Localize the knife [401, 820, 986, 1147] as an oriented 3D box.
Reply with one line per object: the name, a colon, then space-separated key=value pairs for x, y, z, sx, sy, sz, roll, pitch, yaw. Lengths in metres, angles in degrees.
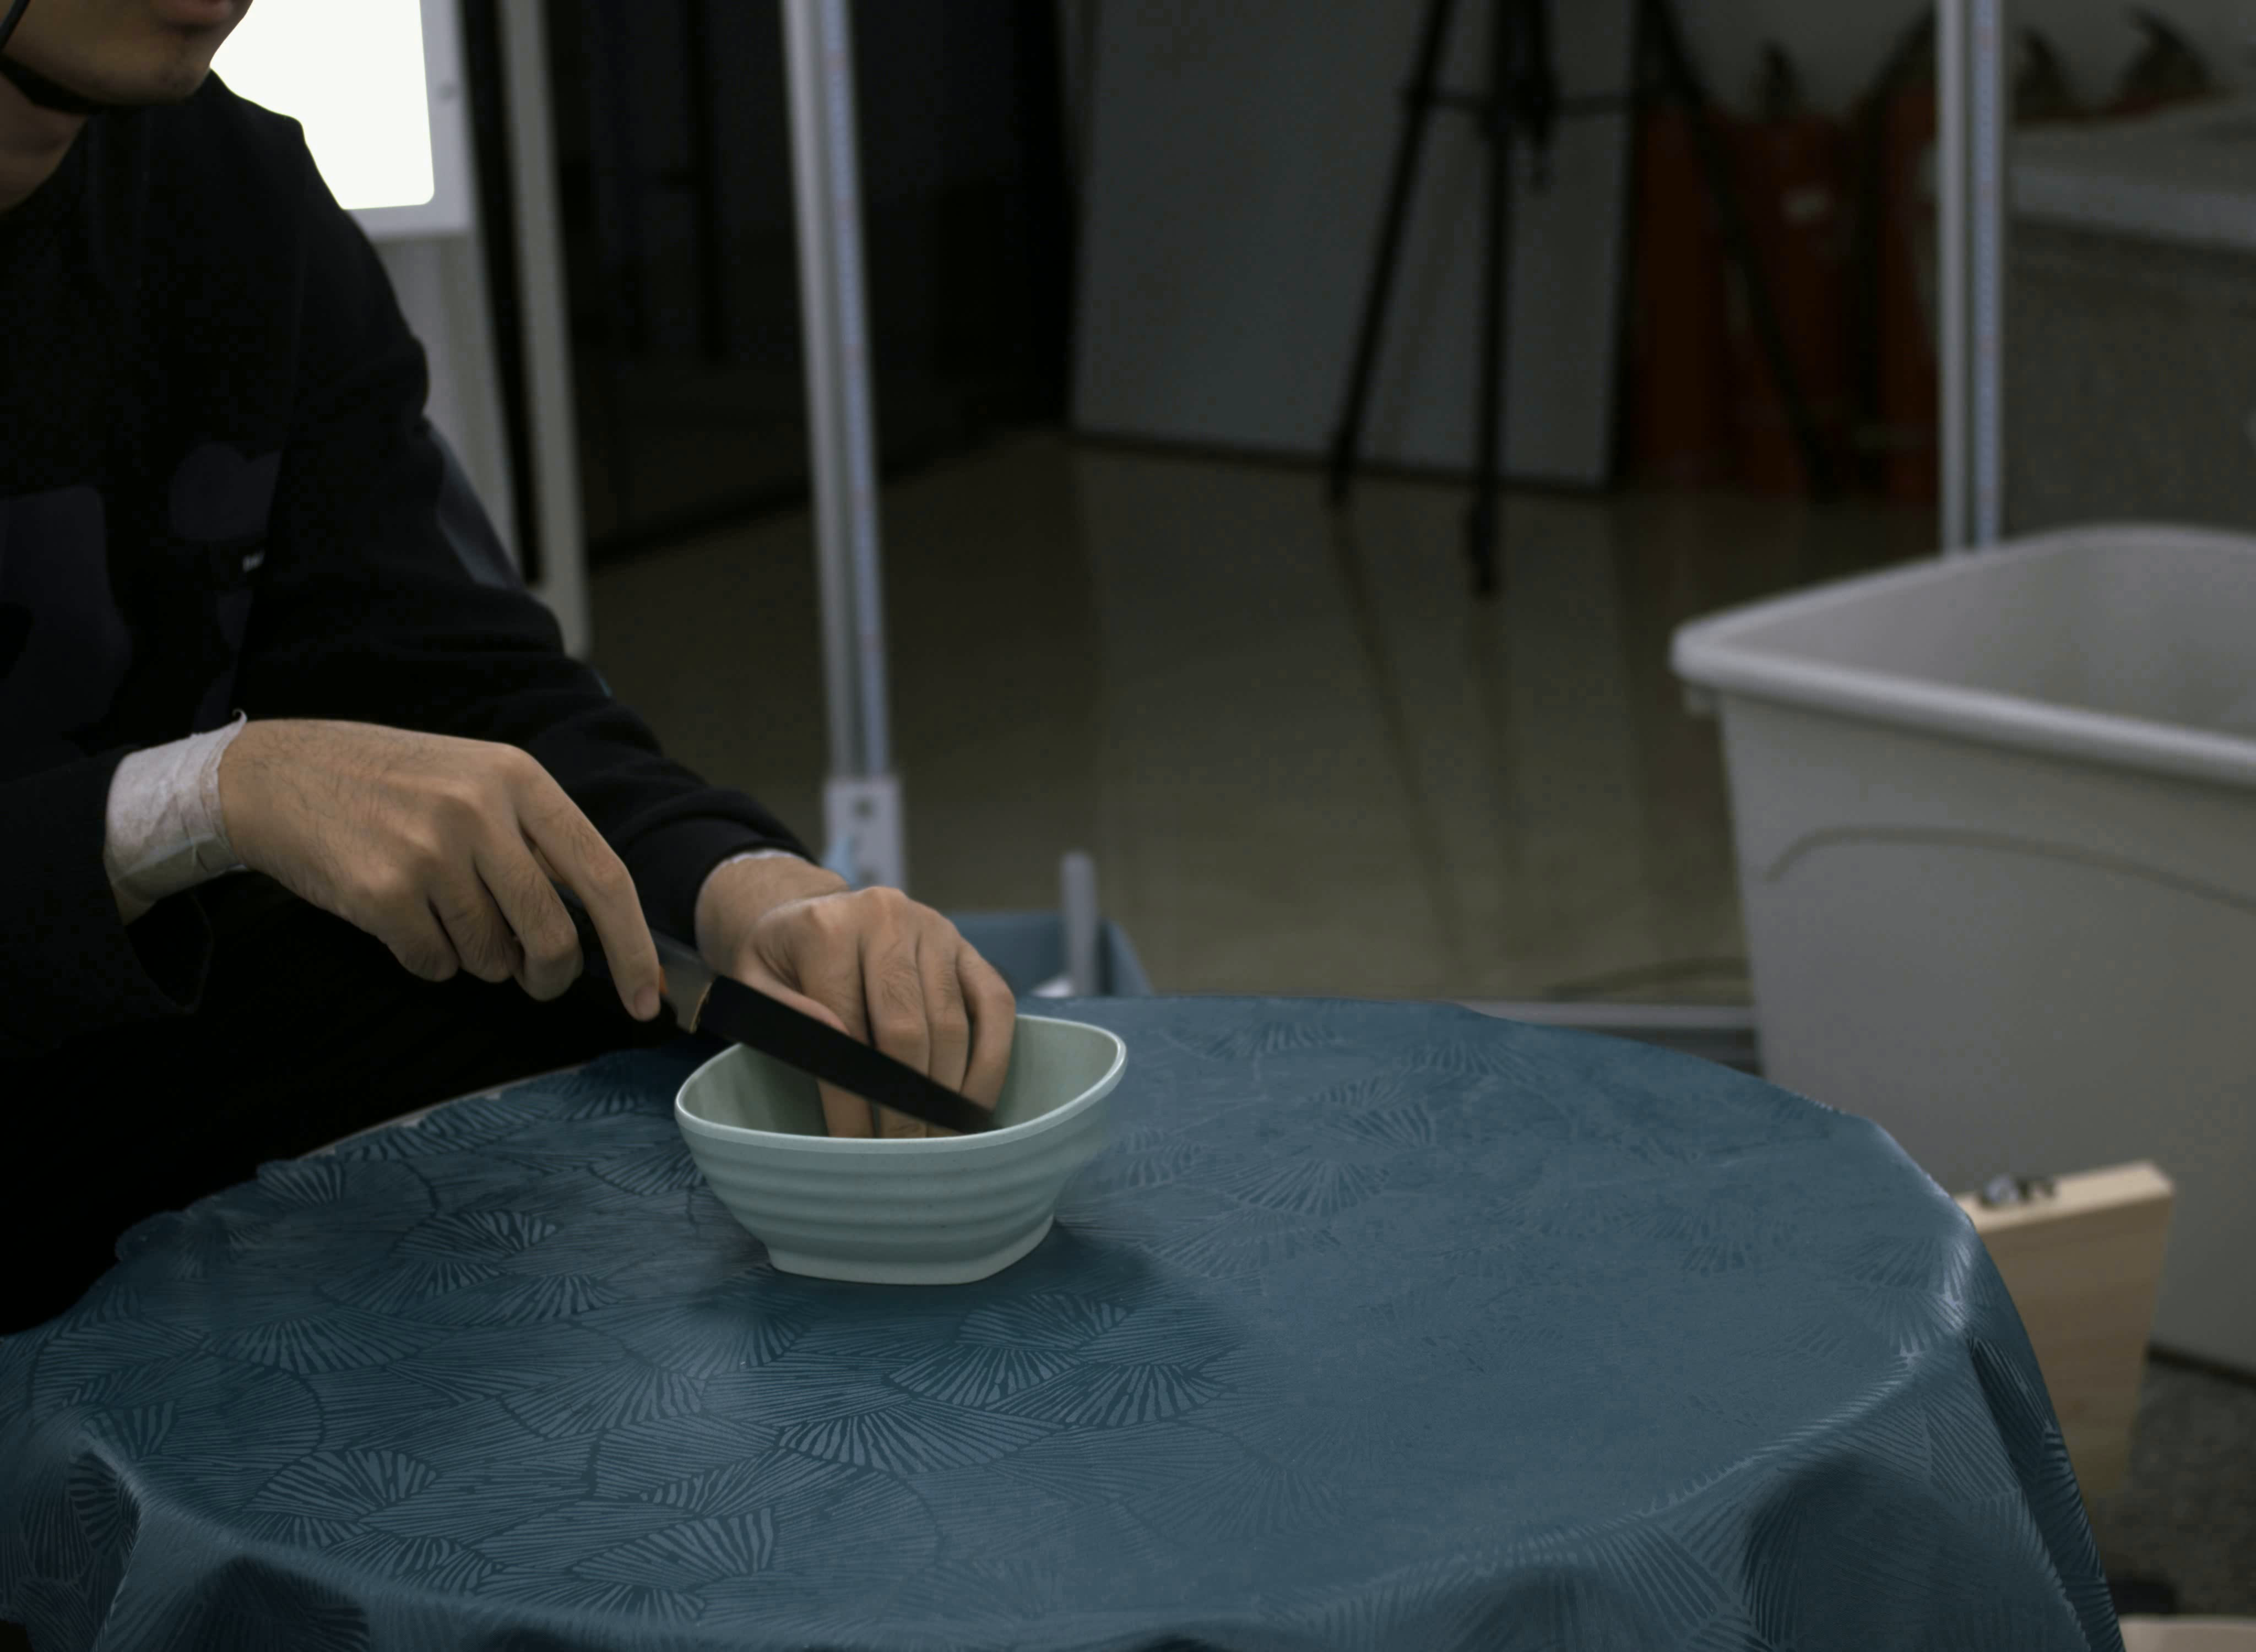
knife: x=-0.131 y=0.055 z=1.720 sx=0.224 sy=0.026 sz=0.017 roll=27 pitch=22 yaw=2

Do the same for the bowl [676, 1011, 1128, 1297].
bowl: x=-0.070 y=0.108 z=1.729 sx=0.149 sy=0.059 sz=0.152 roll=-4 pitch=15 yaw=0
